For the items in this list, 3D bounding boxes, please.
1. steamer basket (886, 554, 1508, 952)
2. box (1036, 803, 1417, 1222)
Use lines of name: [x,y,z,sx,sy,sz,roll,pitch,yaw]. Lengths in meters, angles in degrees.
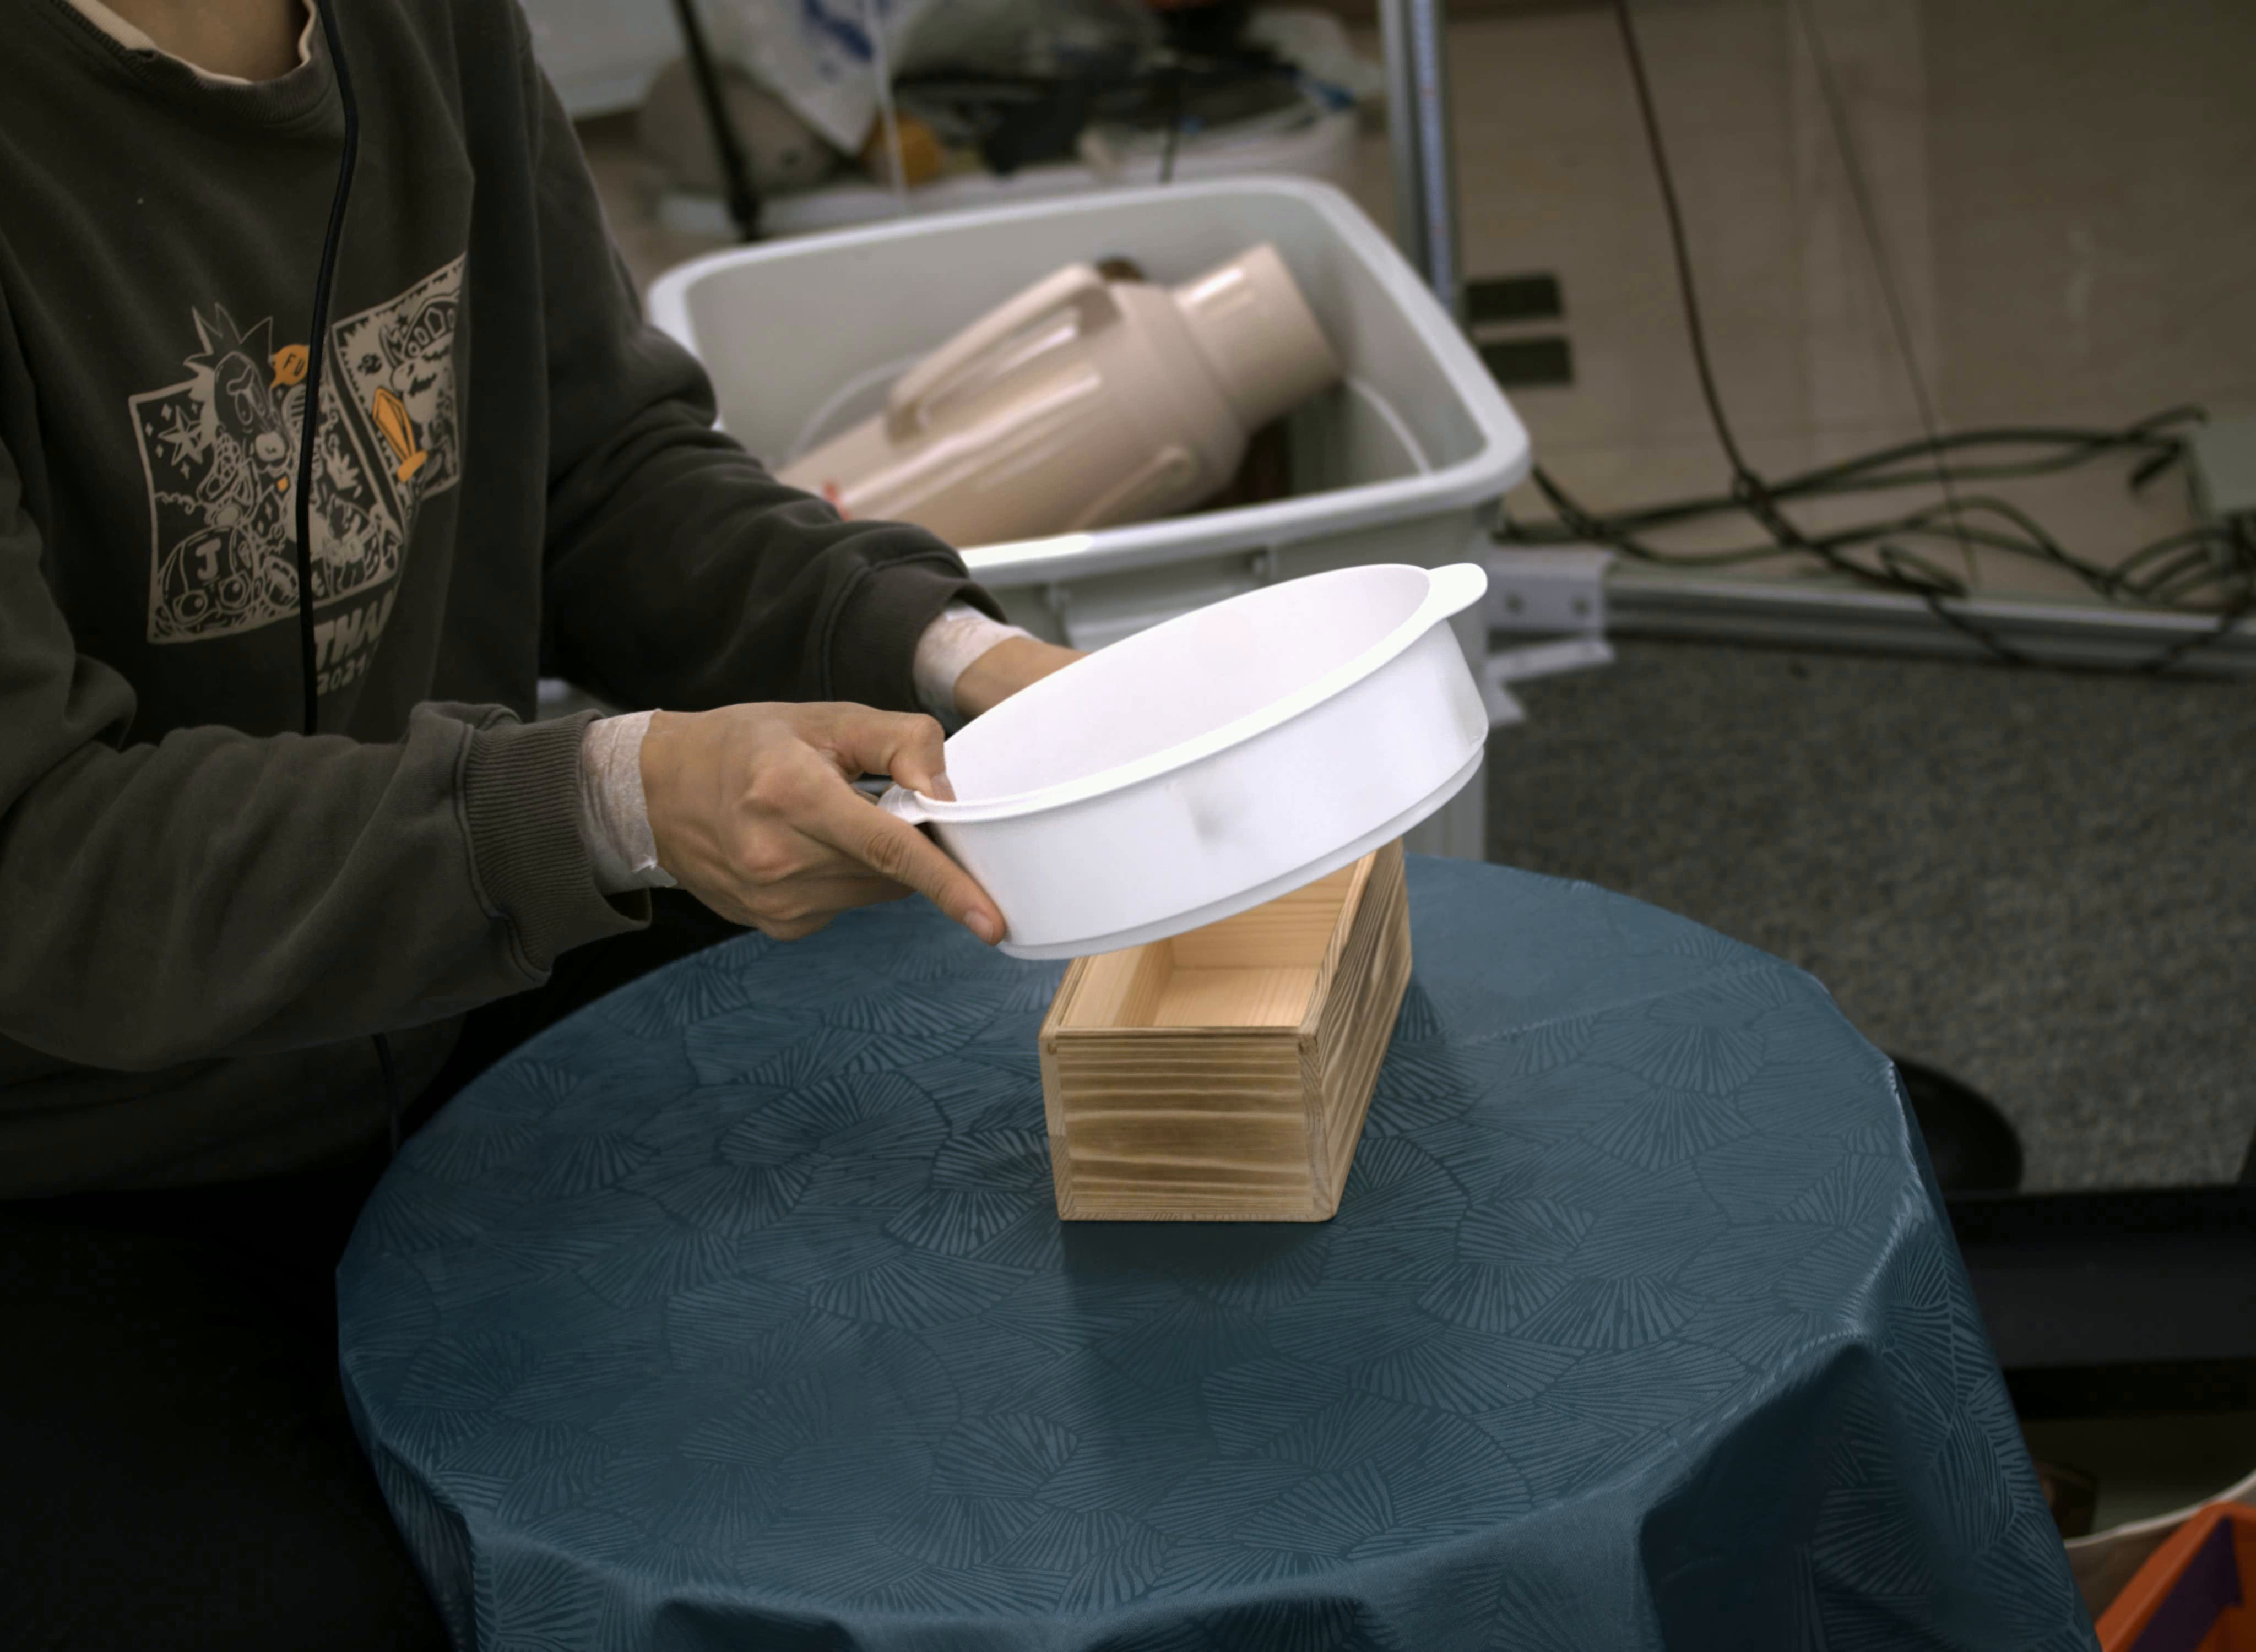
steamer basket: [0.032,-0.023,1.973,0.230,0.070,0.200,-22,12,6]
box: [0.041,0.068,2.193,0.107,0.081,0.208,-1,26,13]
